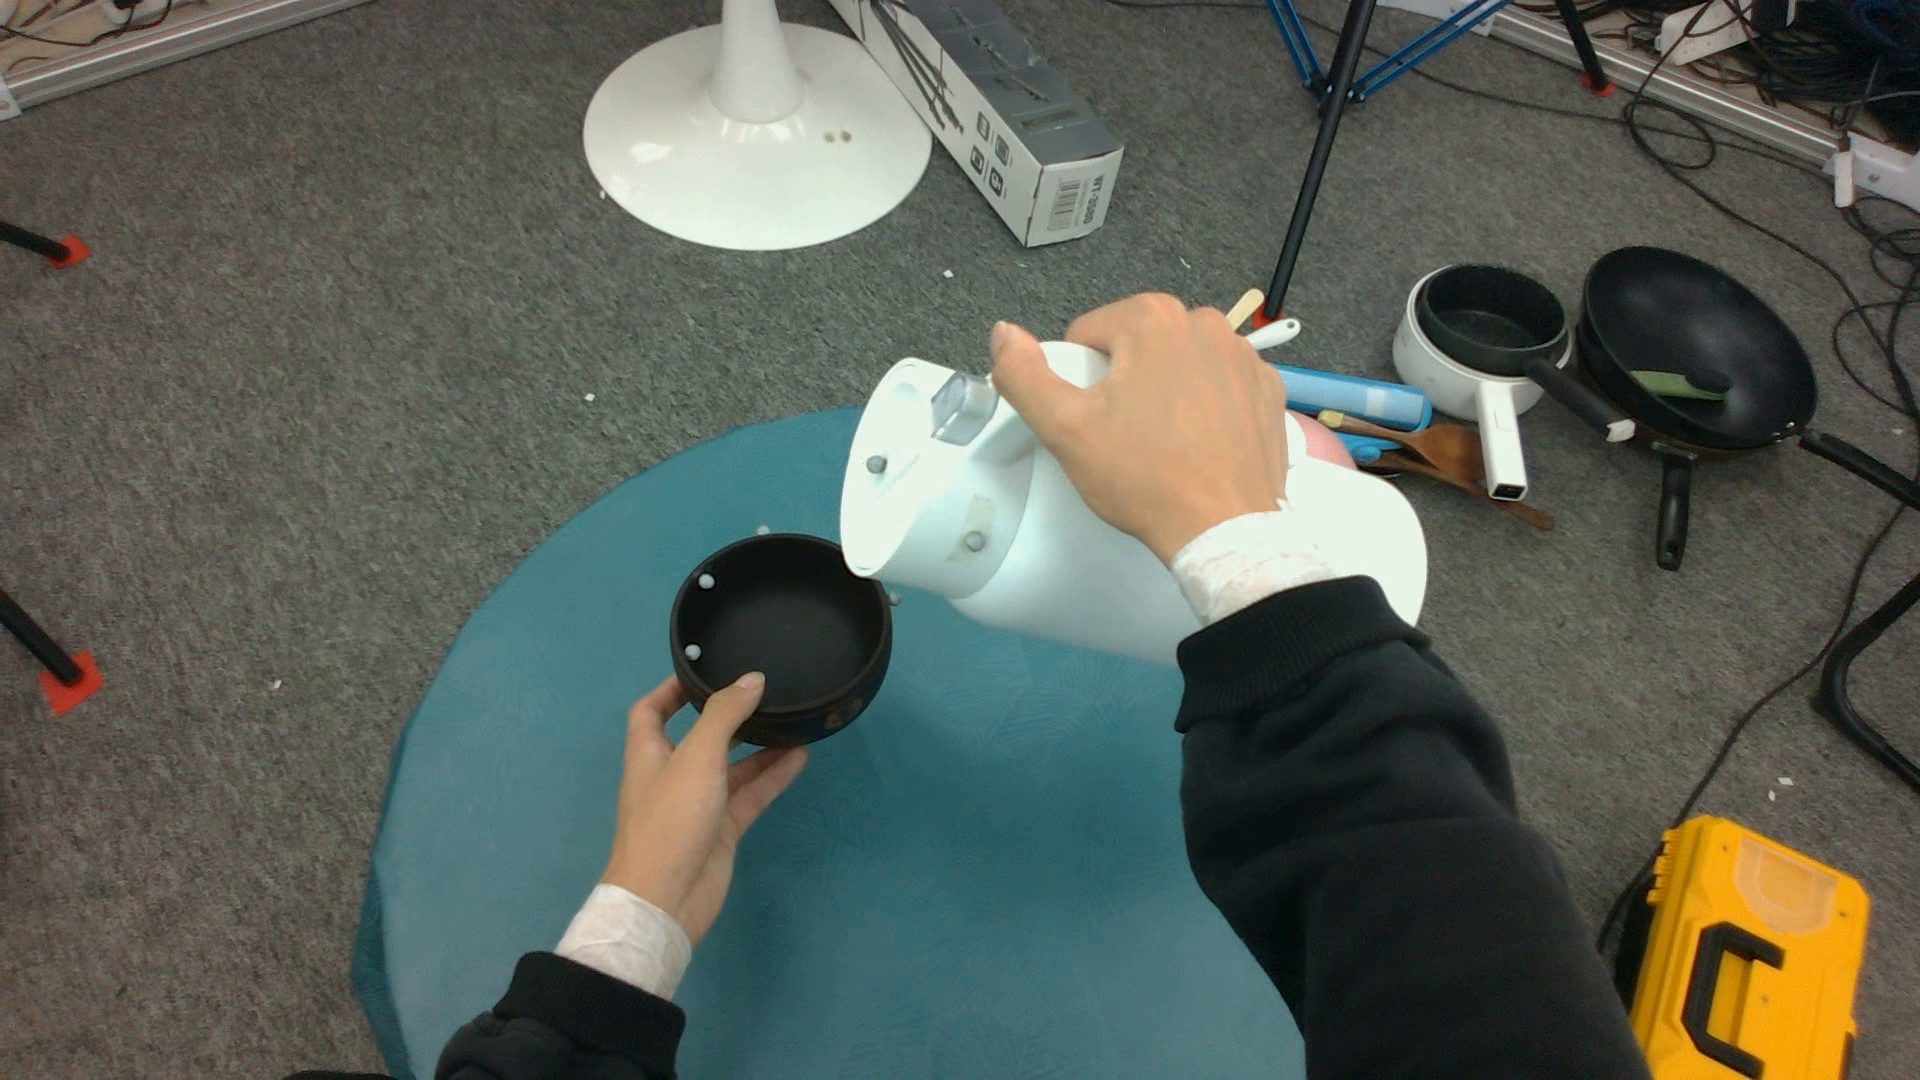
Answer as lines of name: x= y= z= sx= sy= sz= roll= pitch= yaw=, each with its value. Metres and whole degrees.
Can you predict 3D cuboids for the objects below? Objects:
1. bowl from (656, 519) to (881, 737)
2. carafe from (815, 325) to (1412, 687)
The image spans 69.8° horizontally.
bowl: x=-0.102 y=0.054 z=0.743 sx=0.118 sy=0.069 sz=0.118 roll=3 pitch=54 yaw=-4
carafe: x=0.087 y=-0.017 z=0.641 sx=0.269 sy=0.172 sz=0.124 roll=16 pitch=57 yaw=-25
